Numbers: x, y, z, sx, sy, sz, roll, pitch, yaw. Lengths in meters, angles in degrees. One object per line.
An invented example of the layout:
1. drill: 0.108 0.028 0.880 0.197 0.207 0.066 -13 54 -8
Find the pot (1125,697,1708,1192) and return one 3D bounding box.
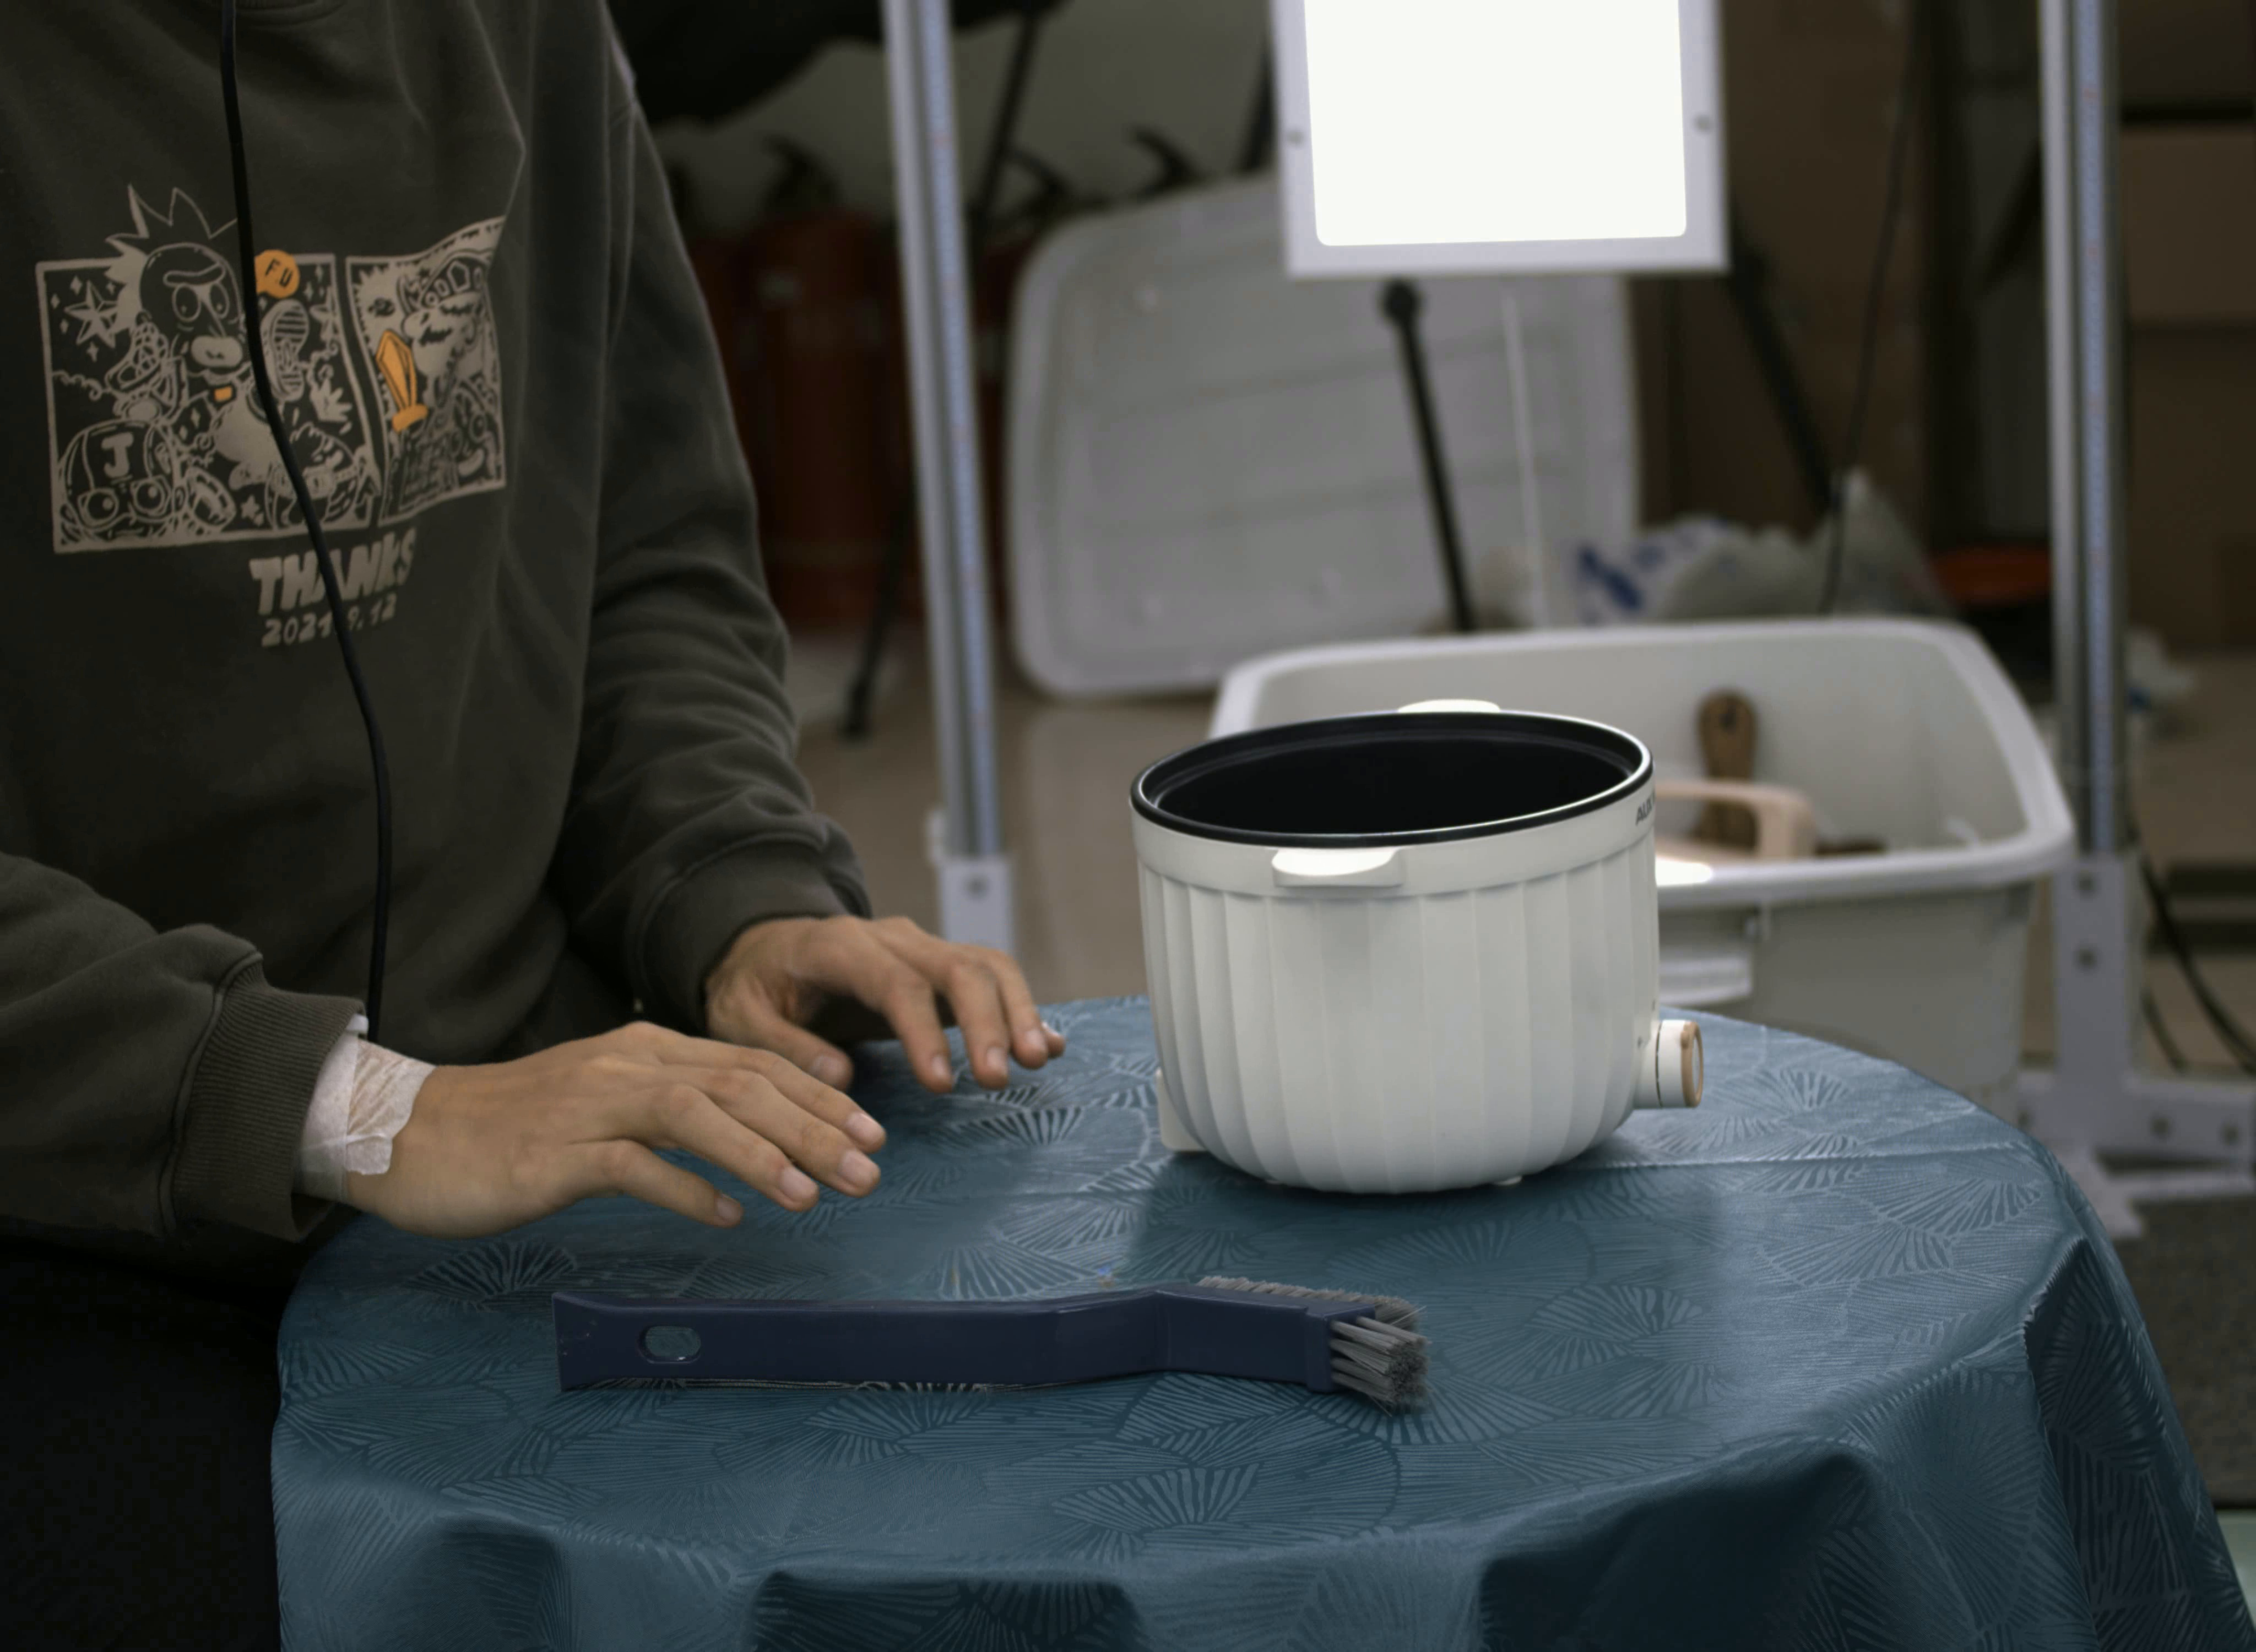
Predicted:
1. pot: 0.101 0.043 1.904 0.192 0.143 0.237 -5 15 16

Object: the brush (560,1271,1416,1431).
1. brush: -0.047 0.161 1.710 0.274 0.033 0.095 -2 15 8
